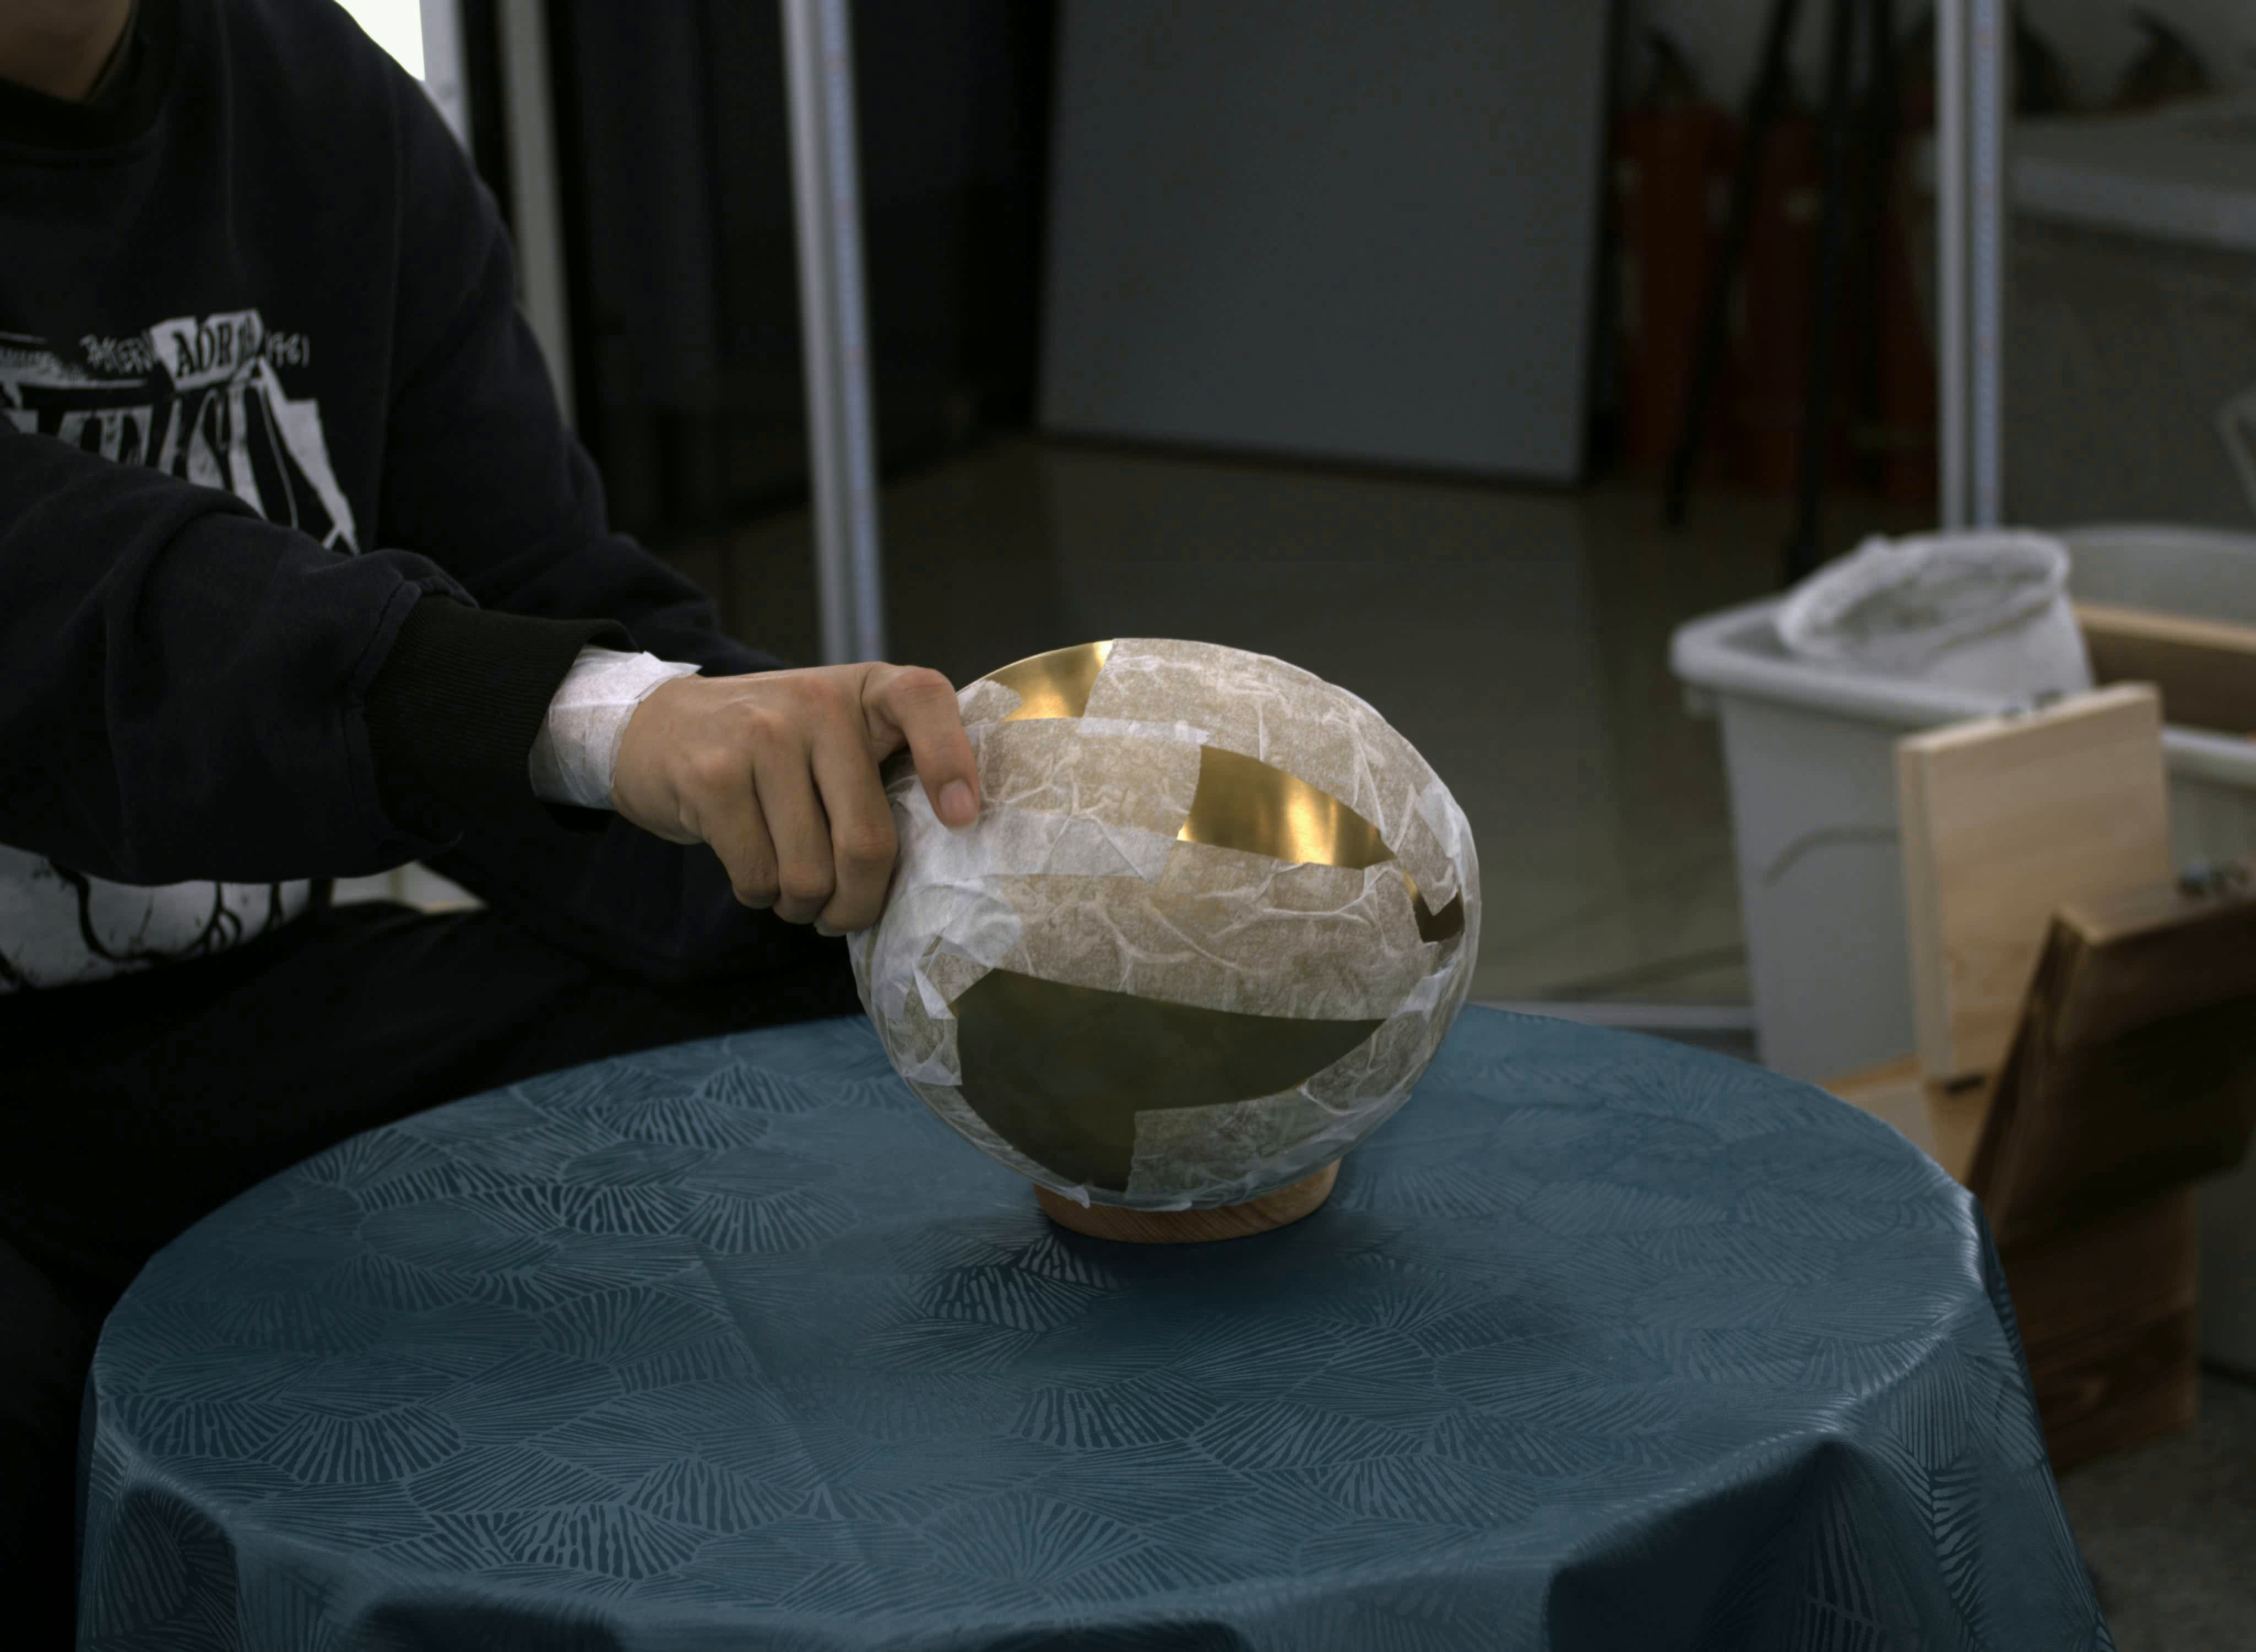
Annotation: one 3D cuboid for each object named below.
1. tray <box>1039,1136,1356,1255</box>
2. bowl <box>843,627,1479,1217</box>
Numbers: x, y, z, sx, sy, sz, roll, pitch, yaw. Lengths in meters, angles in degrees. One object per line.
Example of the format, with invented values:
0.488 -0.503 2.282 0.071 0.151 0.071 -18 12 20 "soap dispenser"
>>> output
0.029 0.100 1.816 0.101 0.020 0.230 -4 16 8 "tray"
0.006 0.051 1.657 0.213 0.216 0.095 -1 37 8 "bowl"
